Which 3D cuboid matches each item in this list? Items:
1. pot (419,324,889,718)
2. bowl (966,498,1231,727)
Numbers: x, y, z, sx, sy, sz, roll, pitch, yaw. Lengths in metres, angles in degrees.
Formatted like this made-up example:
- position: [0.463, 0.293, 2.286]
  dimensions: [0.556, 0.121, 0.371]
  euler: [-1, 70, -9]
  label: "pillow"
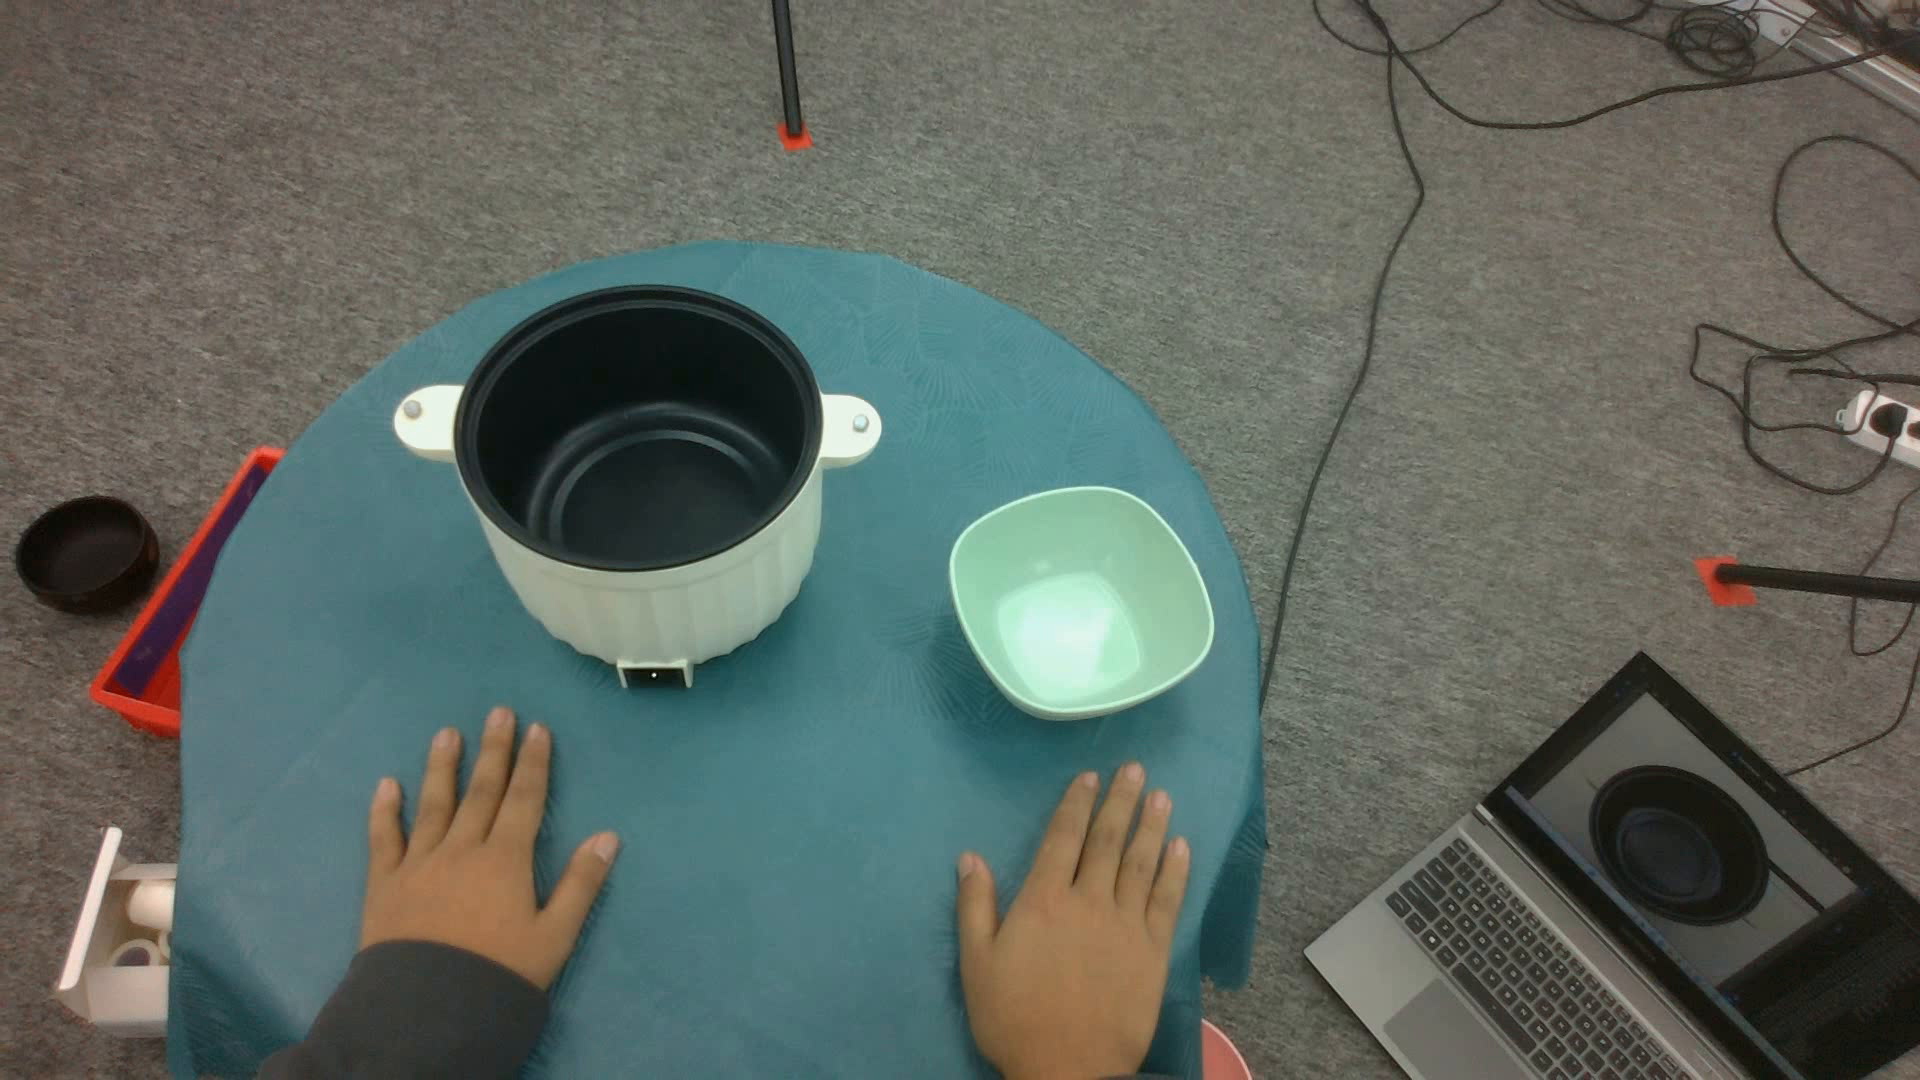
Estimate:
- position: [-0.161, -0.013, 0.769]
  dimensions: [0.240, 0.142, 0.191]
  euler: [-3, 59, -6]
  label: "pot"
- position: [0.076, 0.050, 0.787]
  dimensions: [0.151, 0.058, 0.152]
  euler: [1, 54, -1]
  label: "bowl"
